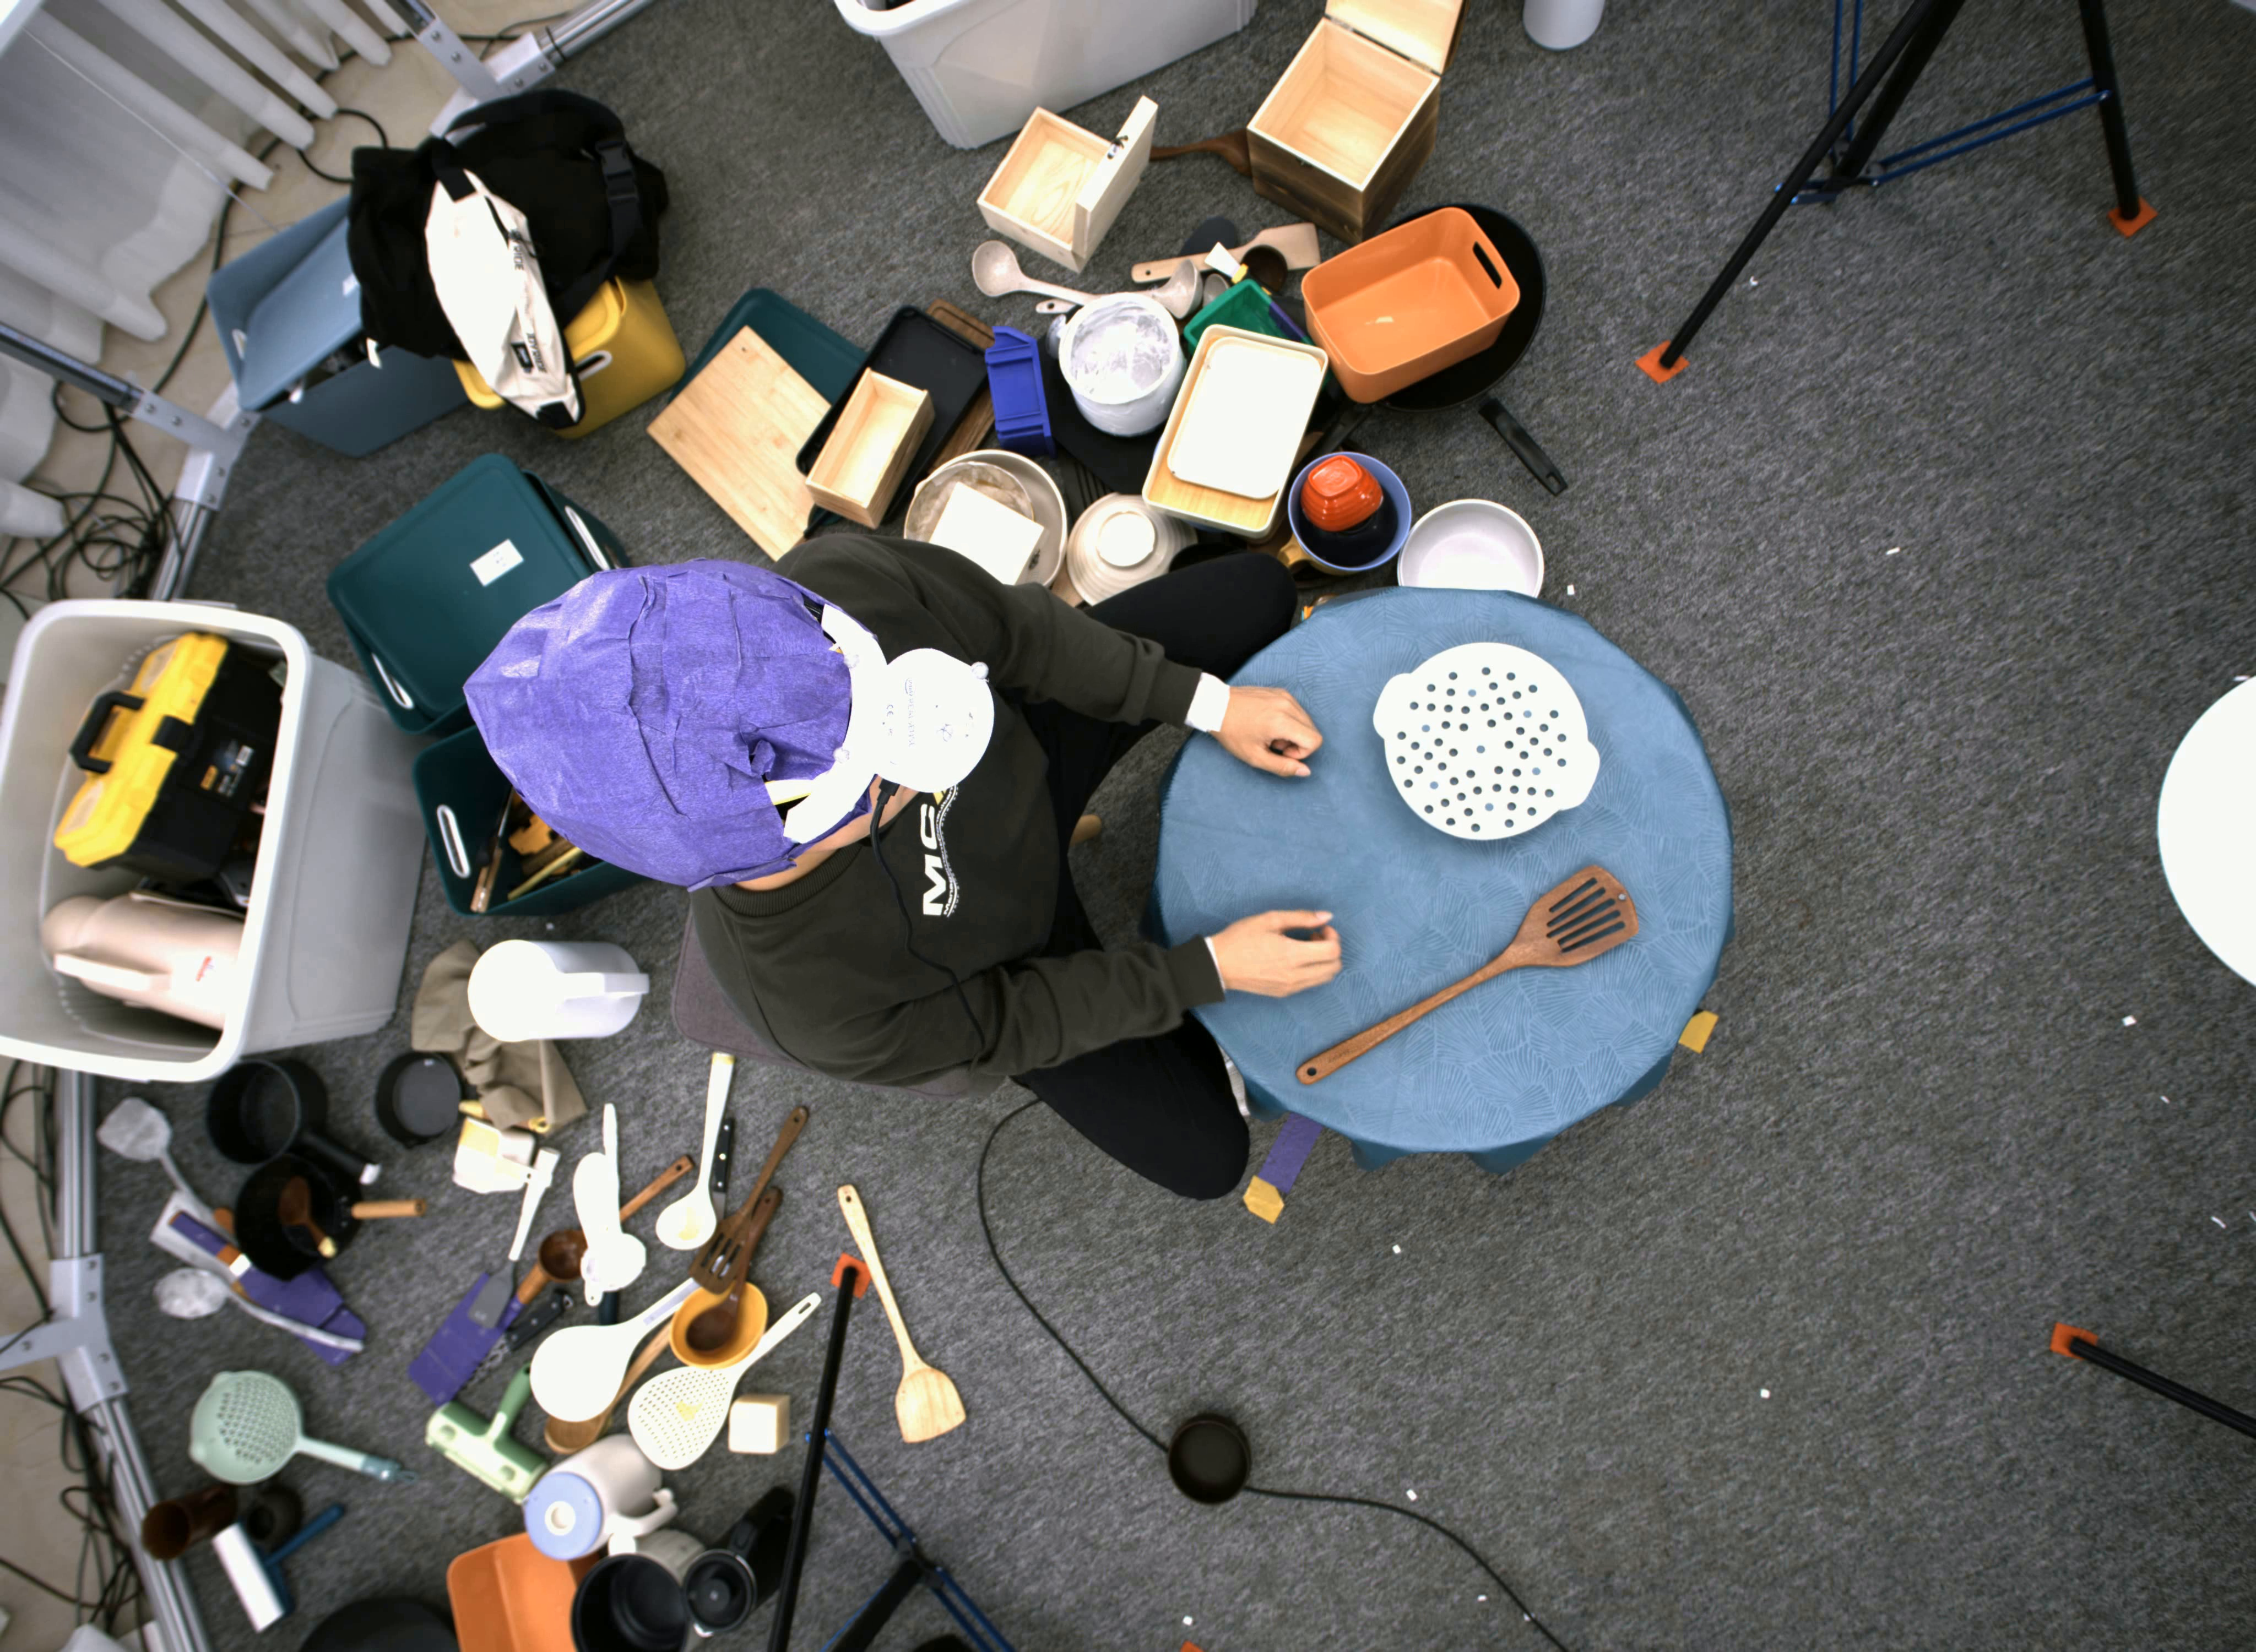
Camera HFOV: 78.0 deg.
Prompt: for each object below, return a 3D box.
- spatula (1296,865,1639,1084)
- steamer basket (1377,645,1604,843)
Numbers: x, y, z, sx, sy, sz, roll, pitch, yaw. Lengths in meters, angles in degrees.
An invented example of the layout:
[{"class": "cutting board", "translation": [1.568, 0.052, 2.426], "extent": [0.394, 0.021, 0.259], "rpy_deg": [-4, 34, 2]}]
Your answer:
[{"class": "spatula", "translation": [0.344, 0.167, 1.430], "extent": [0.388, 0.024, 0.085], "rpy_deg": [-31, 79, 9]}, {"class": "steamer basket", "translation": [0.372, -0.084, 1.419], "extent": [0.230, 0.069, 0.201], "rpy_deg": [23, 89, 15]}]
